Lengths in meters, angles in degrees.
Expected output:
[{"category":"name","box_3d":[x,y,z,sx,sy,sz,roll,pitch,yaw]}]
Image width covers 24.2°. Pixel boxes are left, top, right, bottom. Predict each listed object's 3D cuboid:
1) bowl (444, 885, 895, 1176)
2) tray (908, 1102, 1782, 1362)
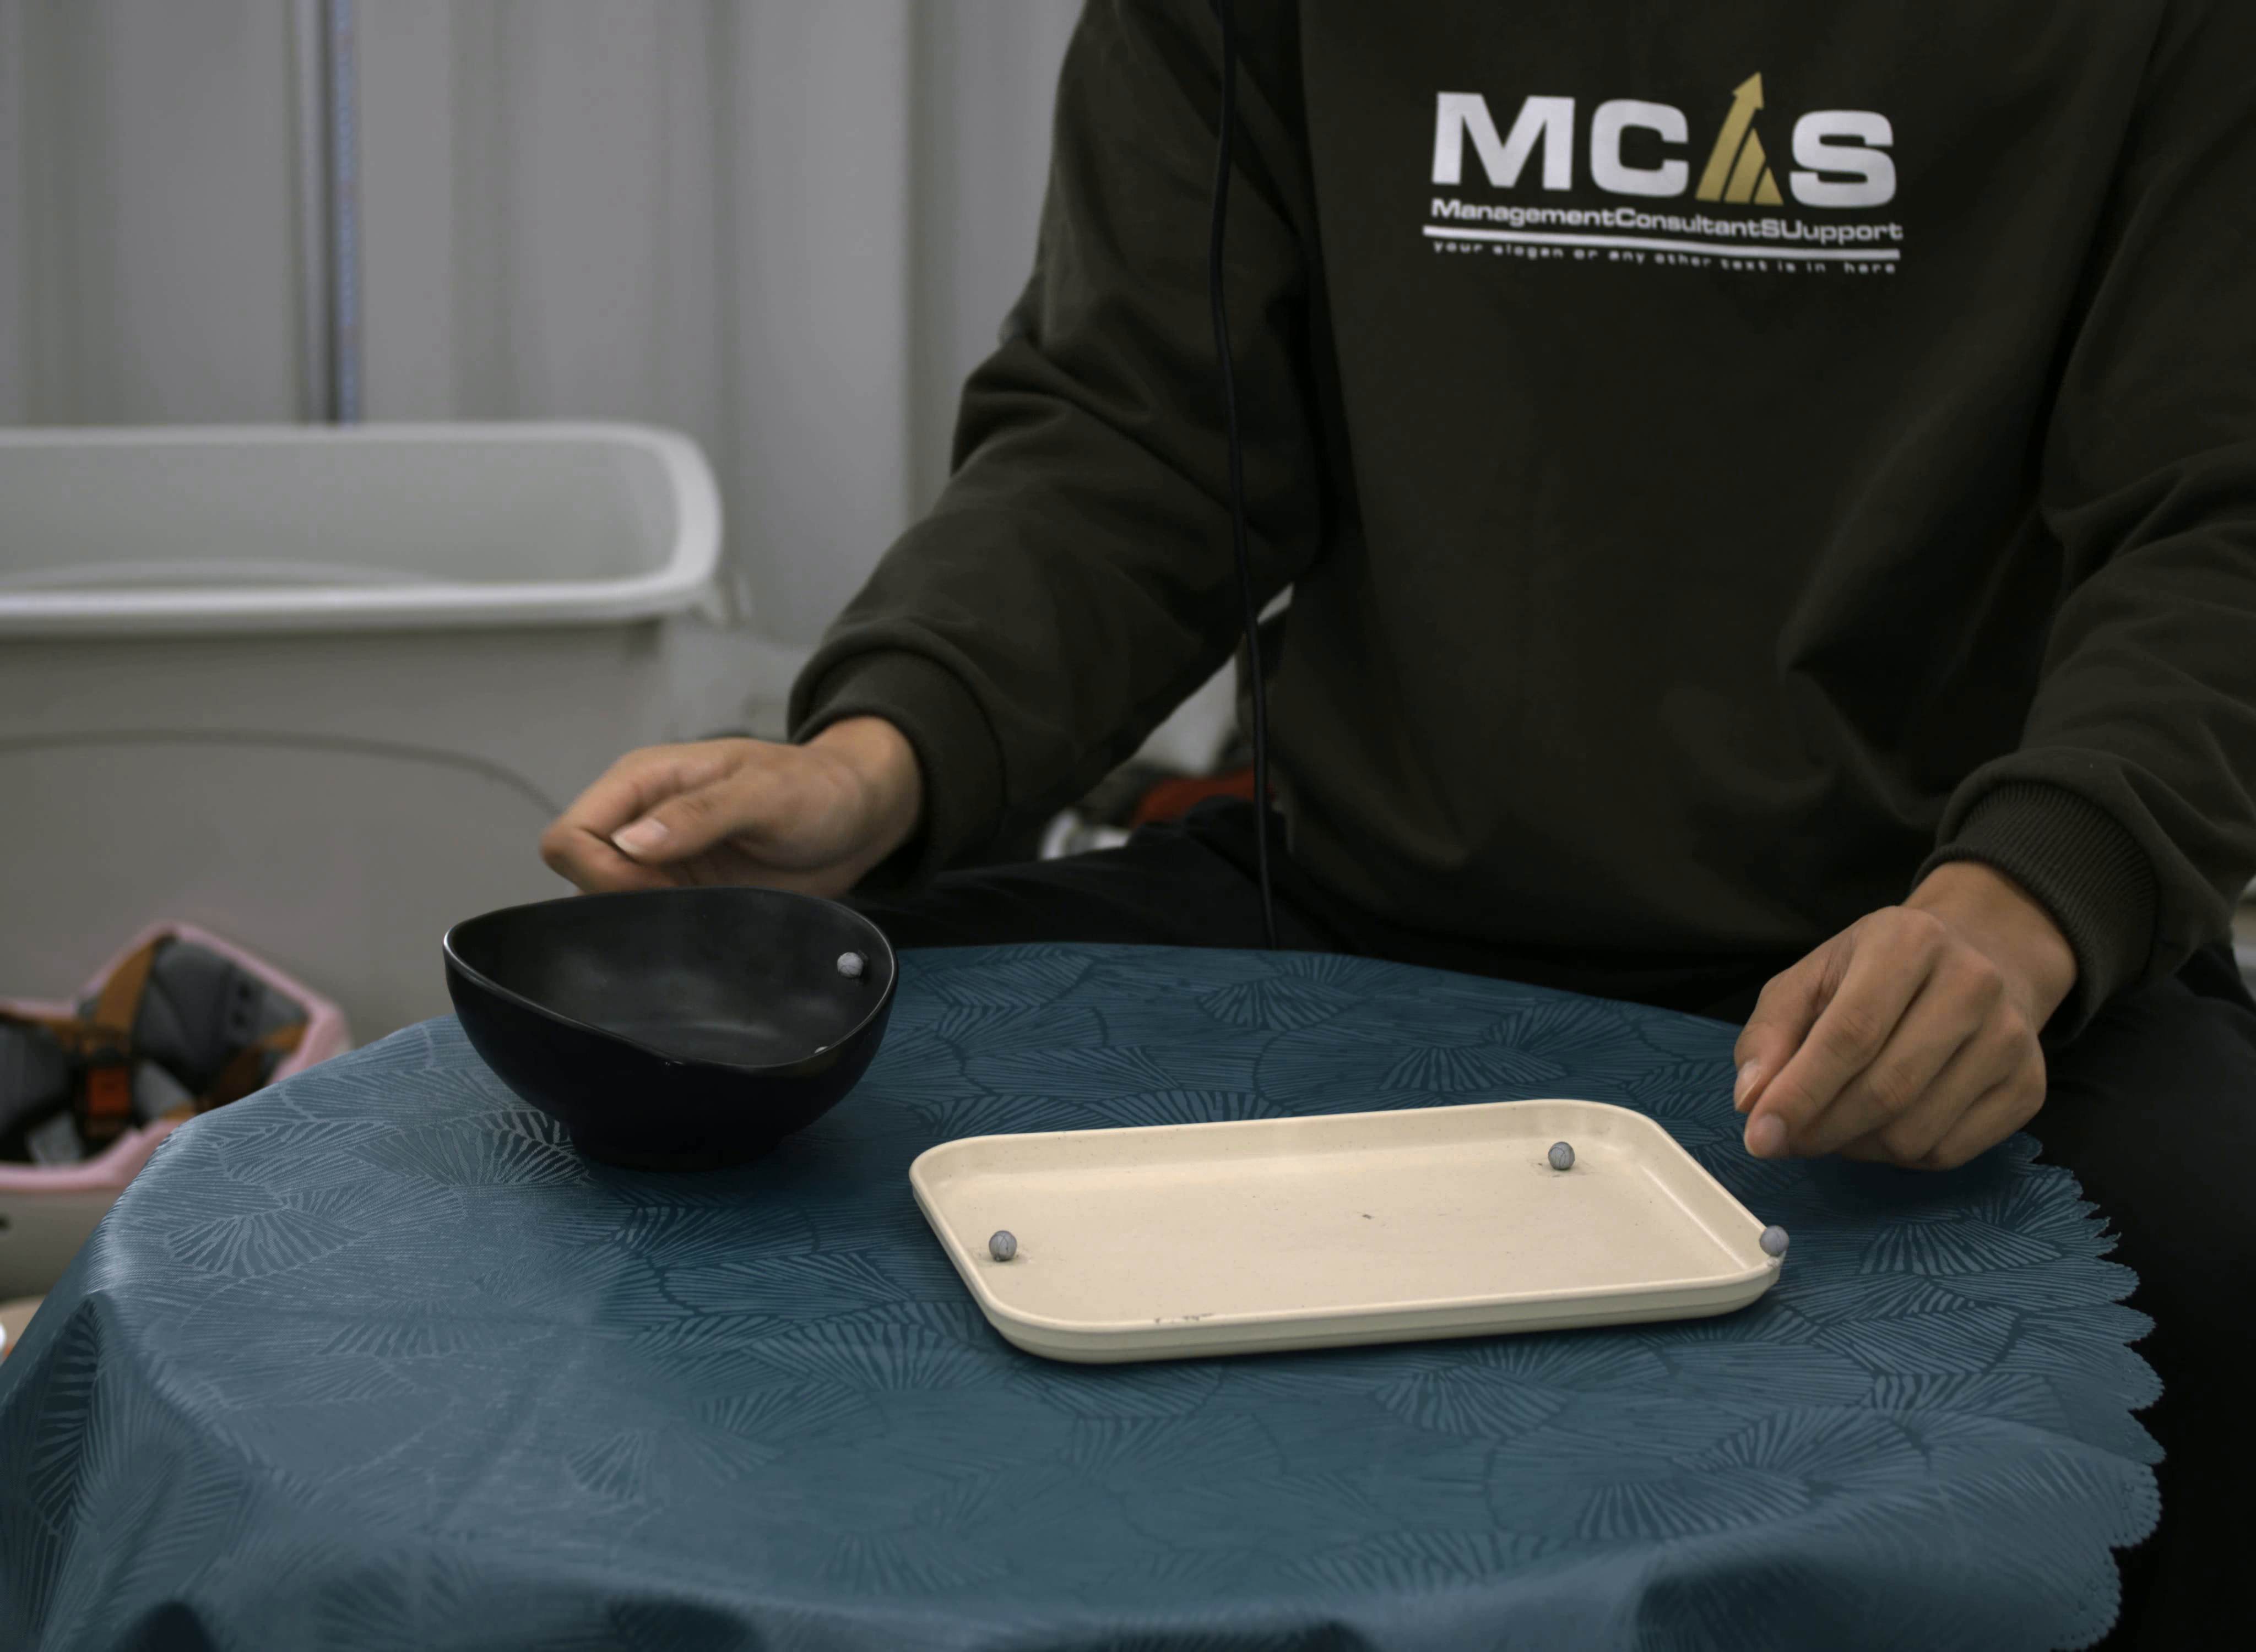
[{"category":"bowl","box_3d":[-0.143,0.069,1.664,0.138,0.067,0.168,-9,20,-29]},{"category":"tray","box_3d":[0.062,0.121,1.572,0.240,0.017,0.169,-3,15,-14]}]
